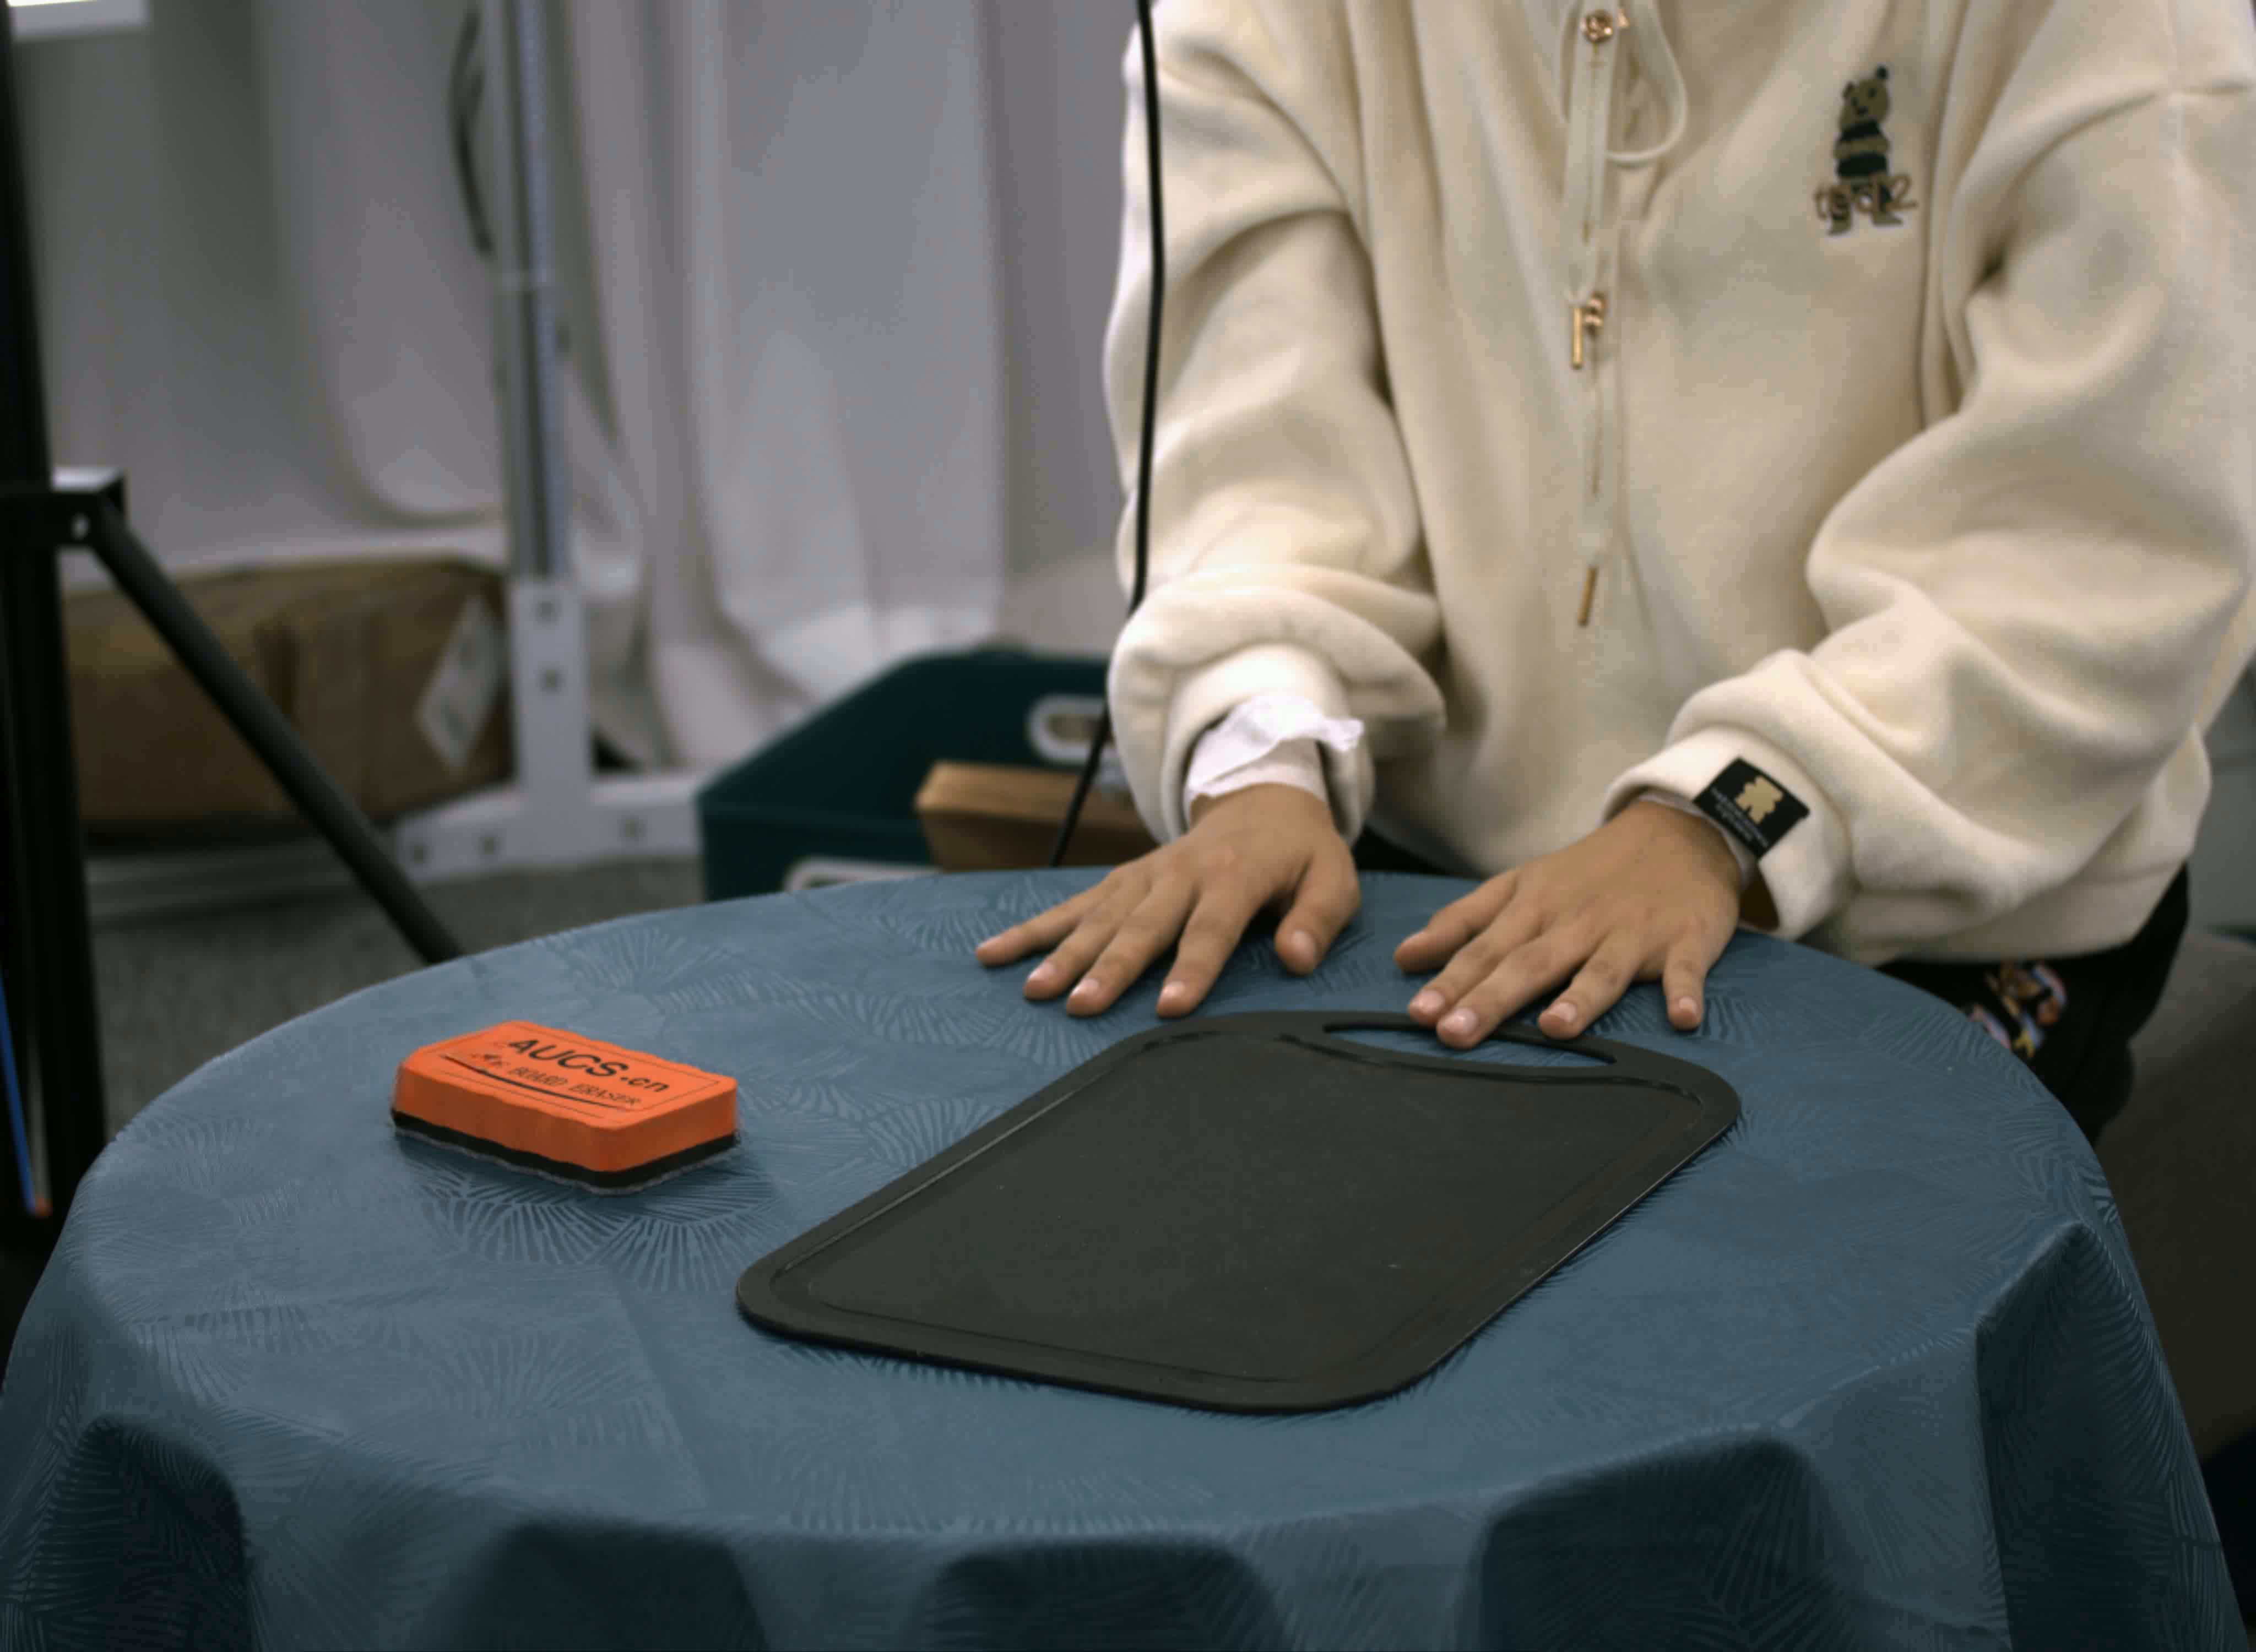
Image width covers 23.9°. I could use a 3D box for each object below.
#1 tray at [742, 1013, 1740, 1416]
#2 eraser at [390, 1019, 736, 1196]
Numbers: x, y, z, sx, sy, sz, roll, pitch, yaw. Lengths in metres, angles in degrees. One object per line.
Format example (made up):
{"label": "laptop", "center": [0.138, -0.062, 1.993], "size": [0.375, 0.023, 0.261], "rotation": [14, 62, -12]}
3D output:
{"label": "tray", "center": [0.042, 0.104, 1.553], "size": [0.215, 0.010, 0.320], "rotation": [7, 18, 29]}
{"label": "eraser", "center": [-0.172, 0.085, 1.624], "size": [0.110, 0.023, 0.057], "rotation": [13, 22, 43]}
